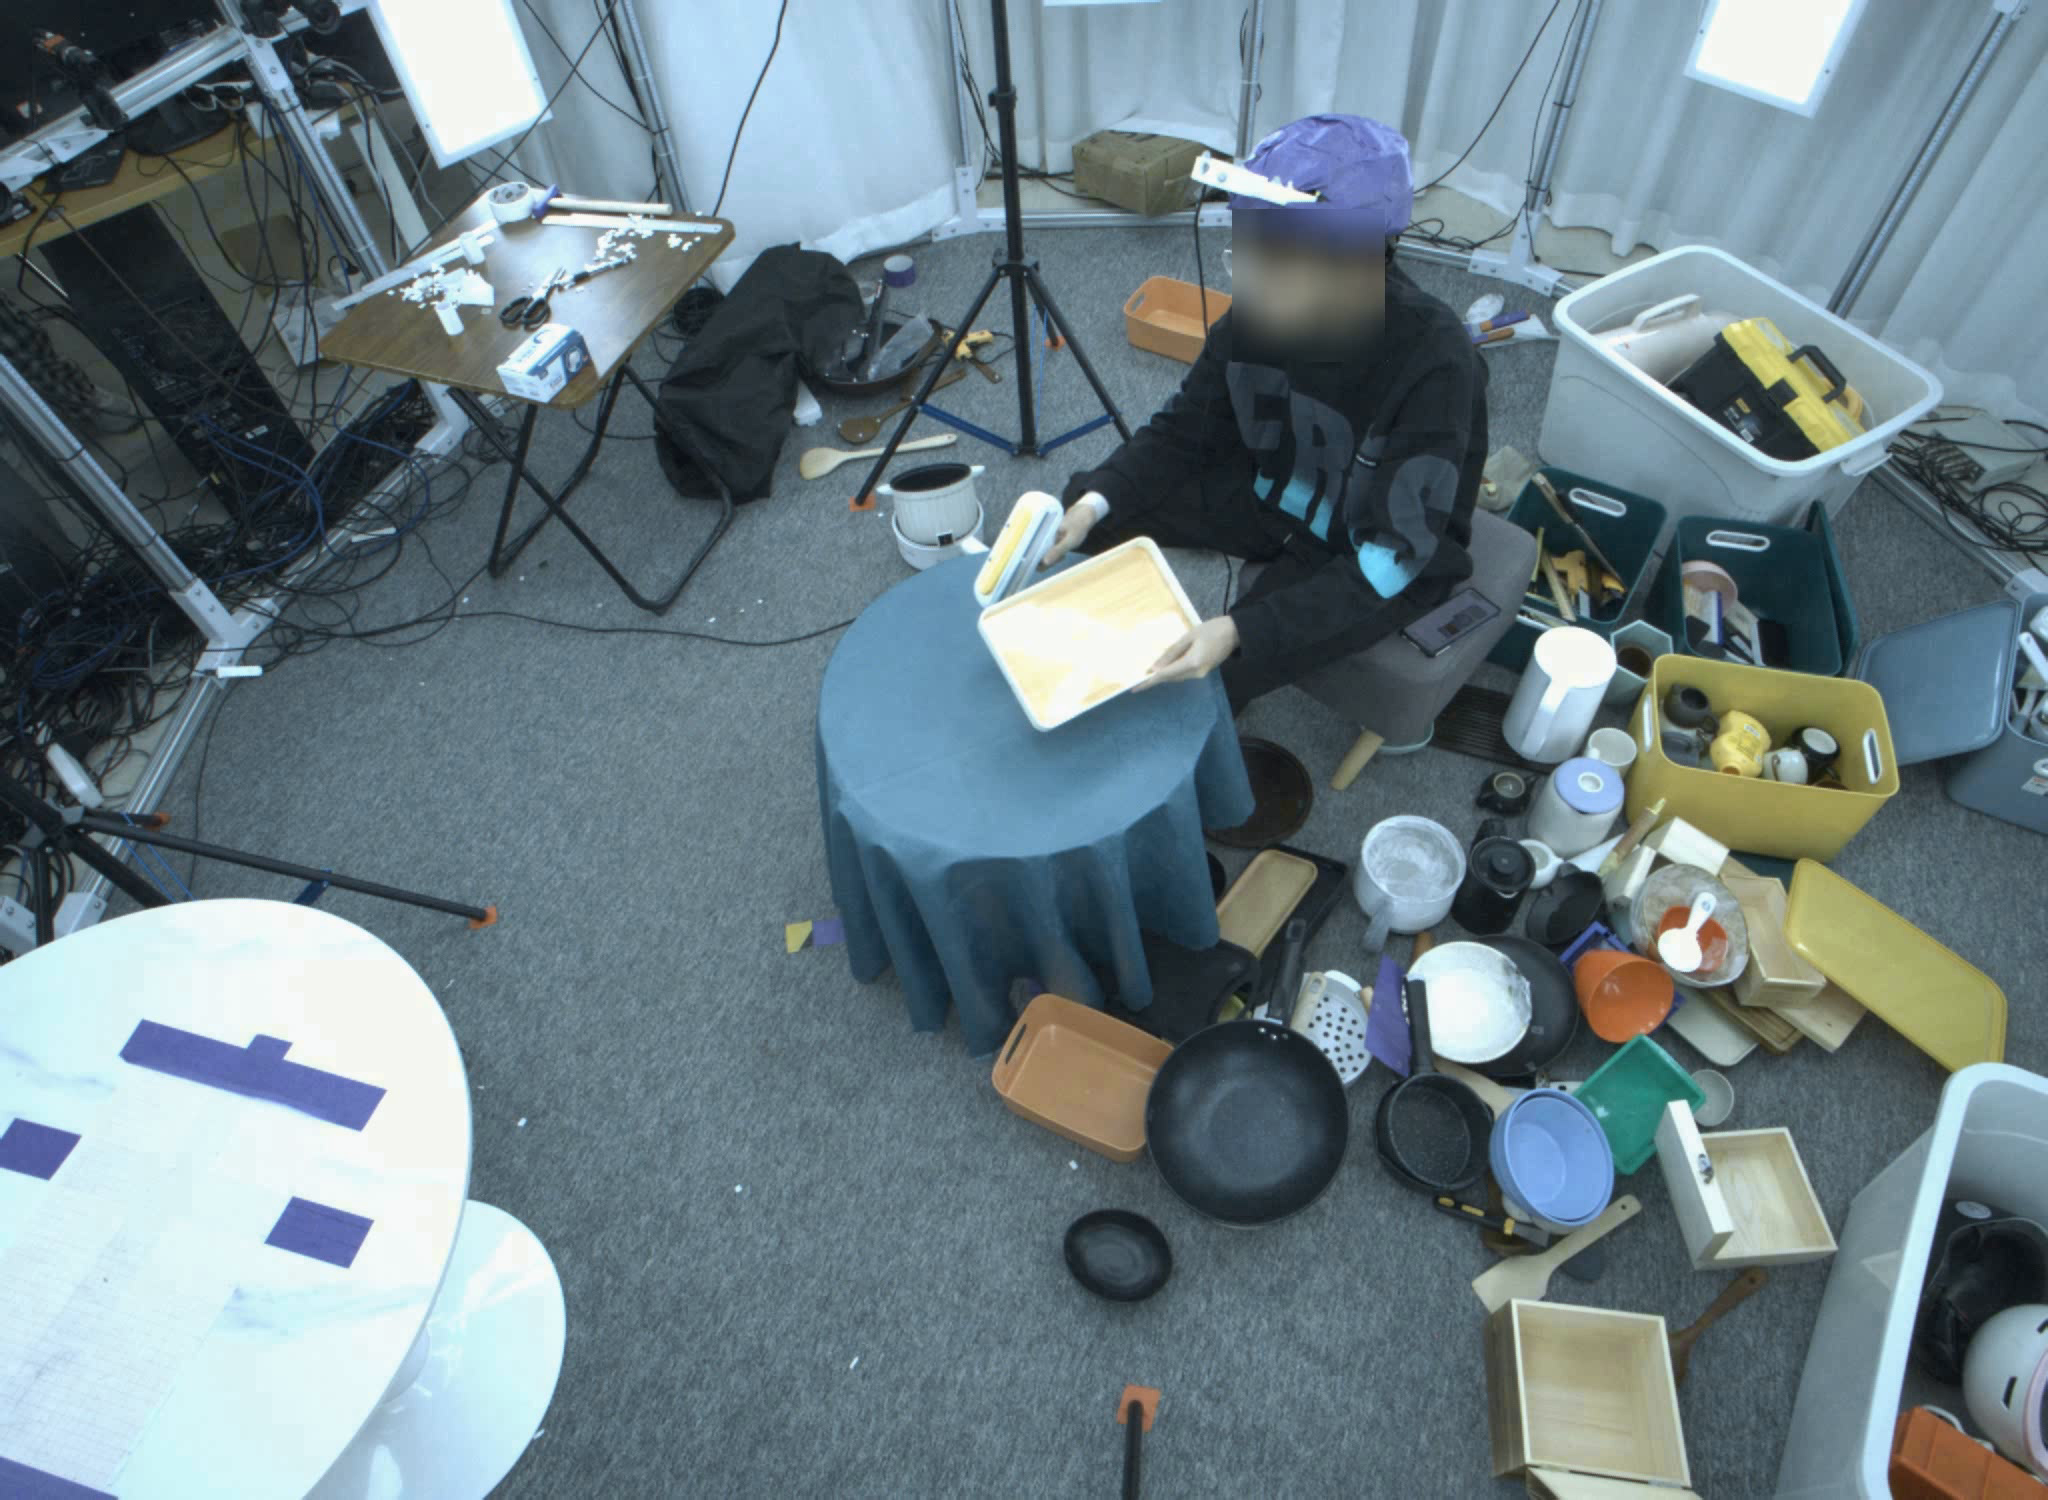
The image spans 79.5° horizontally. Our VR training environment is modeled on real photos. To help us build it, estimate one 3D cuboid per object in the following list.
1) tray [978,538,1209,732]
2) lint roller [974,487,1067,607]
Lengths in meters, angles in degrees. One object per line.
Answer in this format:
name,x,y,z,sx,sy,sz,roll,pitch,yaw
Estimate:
tray,0.101,-0.167,1.746,0.303,0.027,0.191,-27,87,-21
lint roller,0.016,-0.302,1.847,0.073,0.196,0.193,35,108,24
